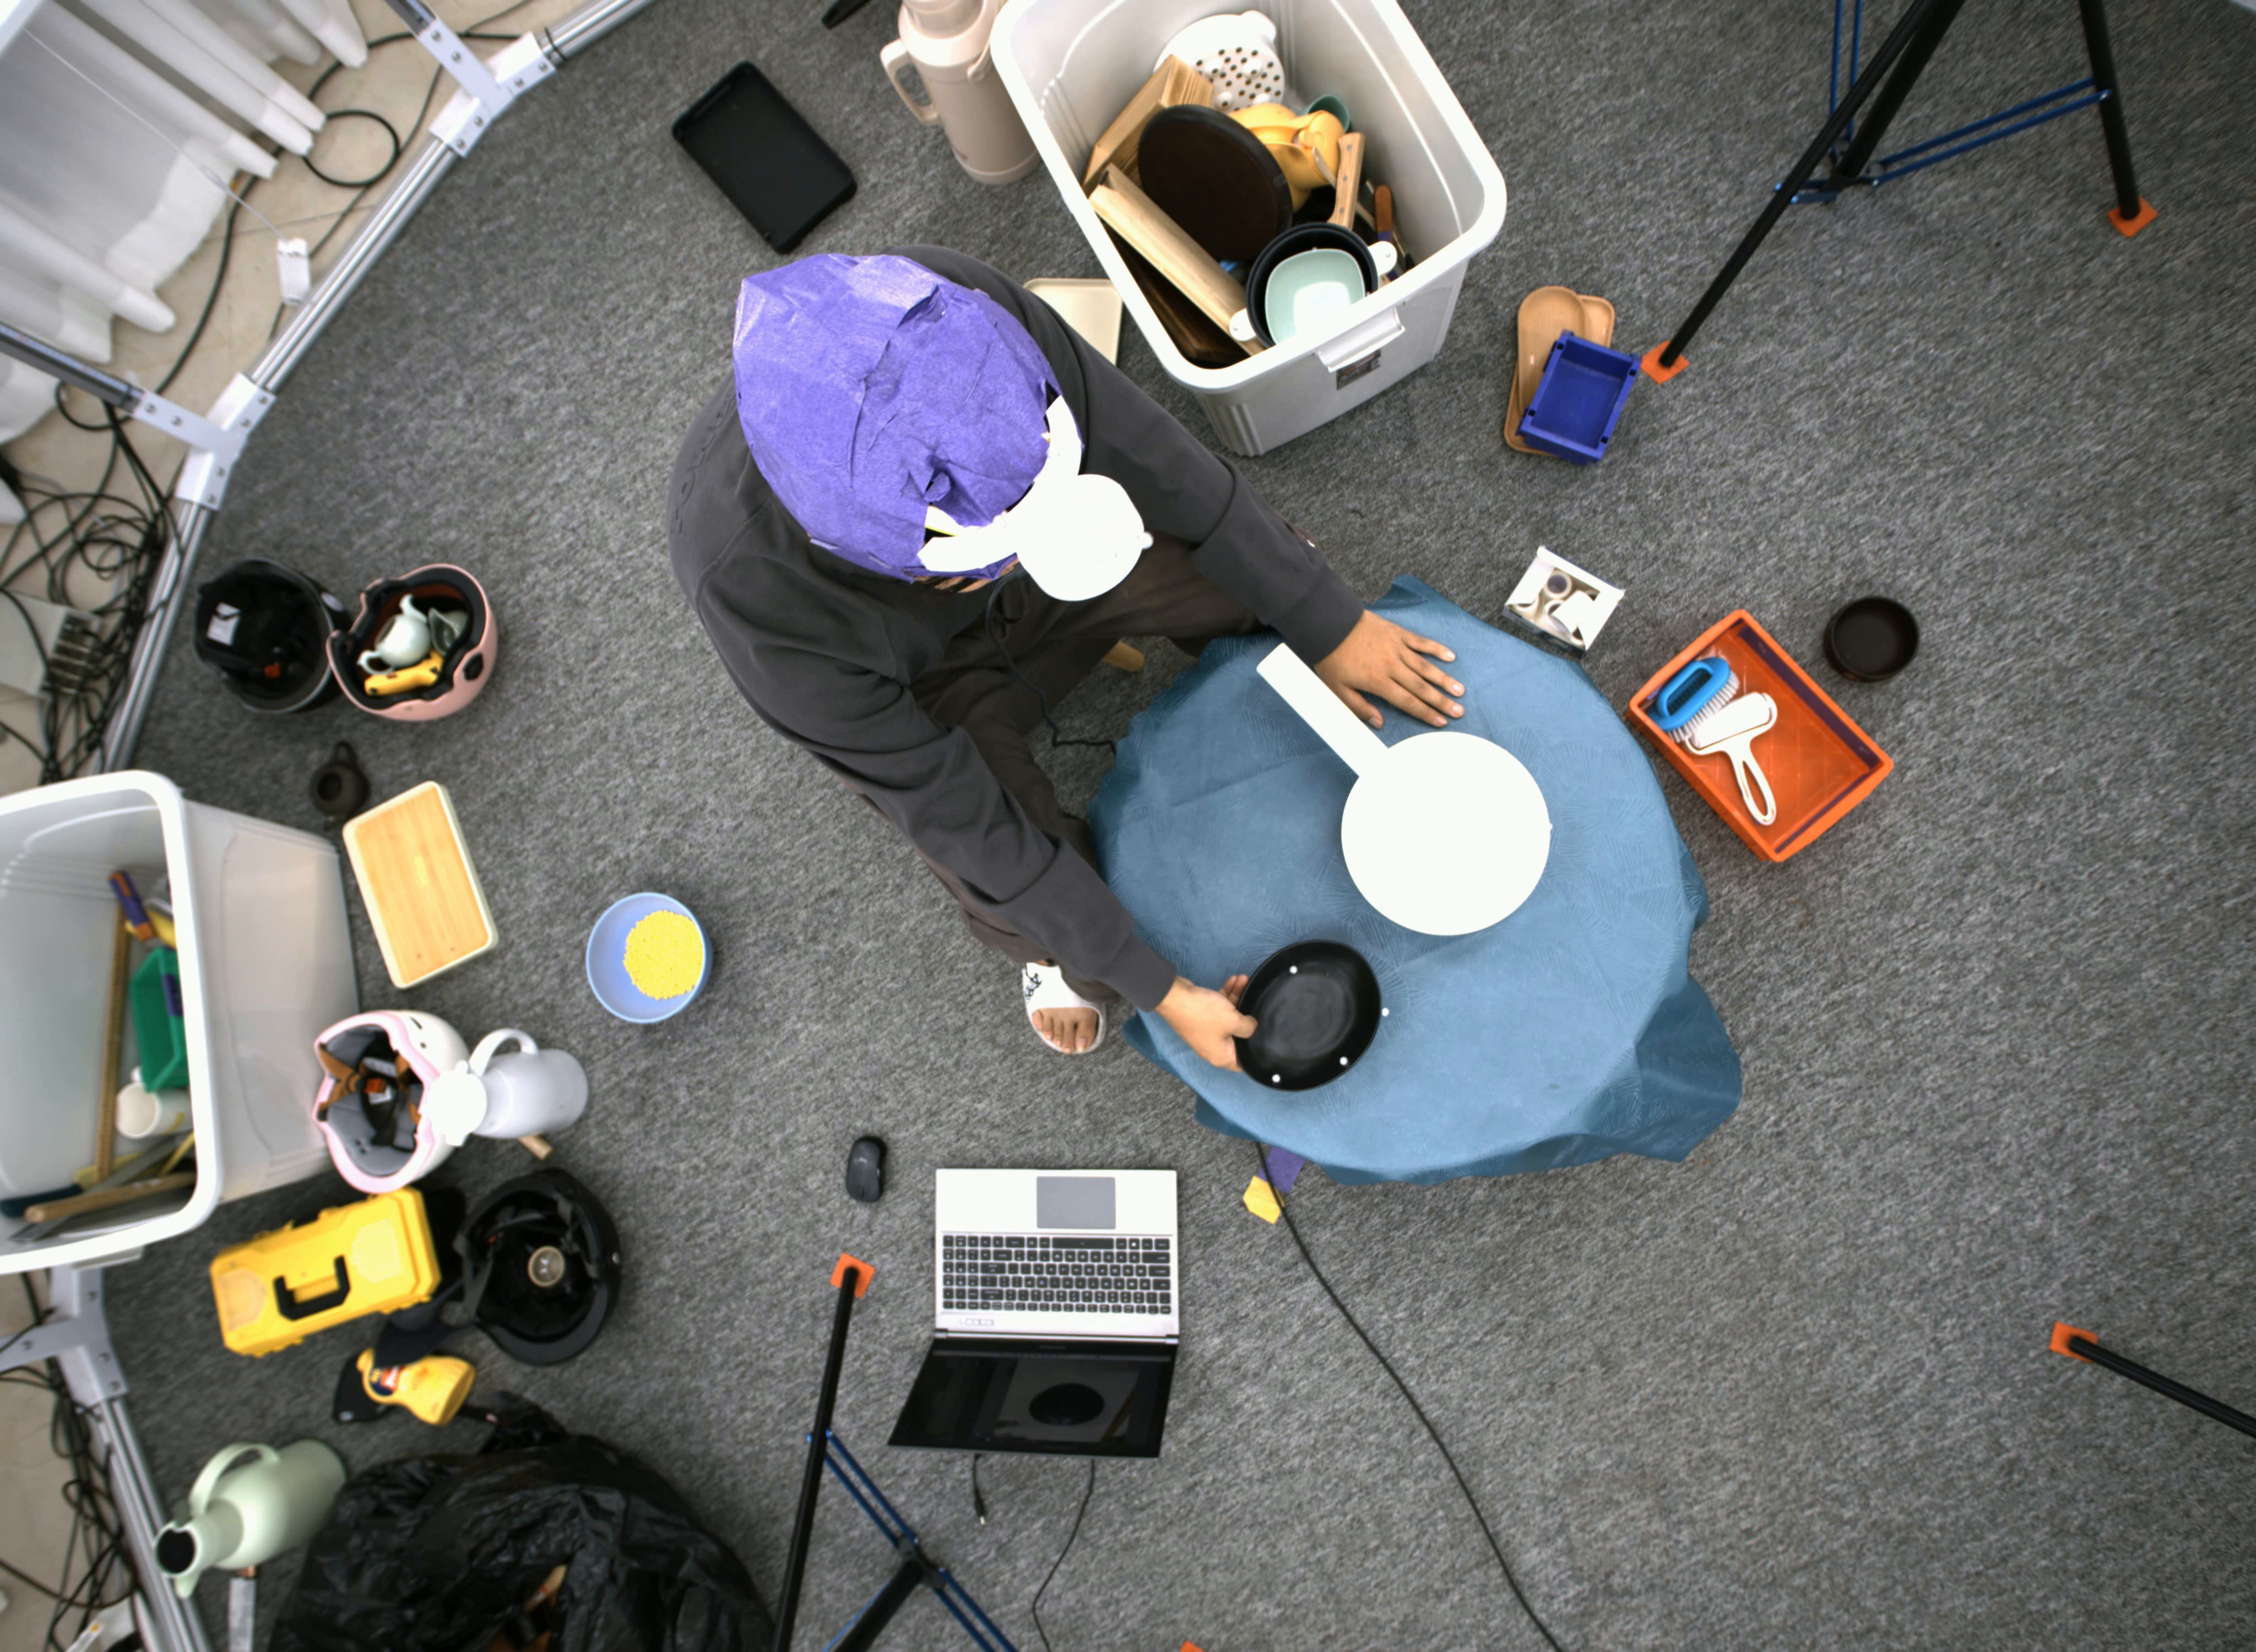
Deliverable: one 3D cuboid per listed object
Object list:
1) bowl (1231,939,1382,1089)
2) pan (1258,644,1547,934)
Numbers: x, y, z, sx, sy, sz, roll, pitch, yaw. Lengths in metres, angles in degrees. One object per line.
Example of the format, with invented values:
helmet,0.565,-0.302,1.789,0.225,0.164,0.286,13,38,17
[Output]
bowl,0.185,0.195,1.435,0.137,0.067,0.171,42,95,11
pan,0.271,-0.045,1.423,0.202,0.102,0.352,-45,78,7
